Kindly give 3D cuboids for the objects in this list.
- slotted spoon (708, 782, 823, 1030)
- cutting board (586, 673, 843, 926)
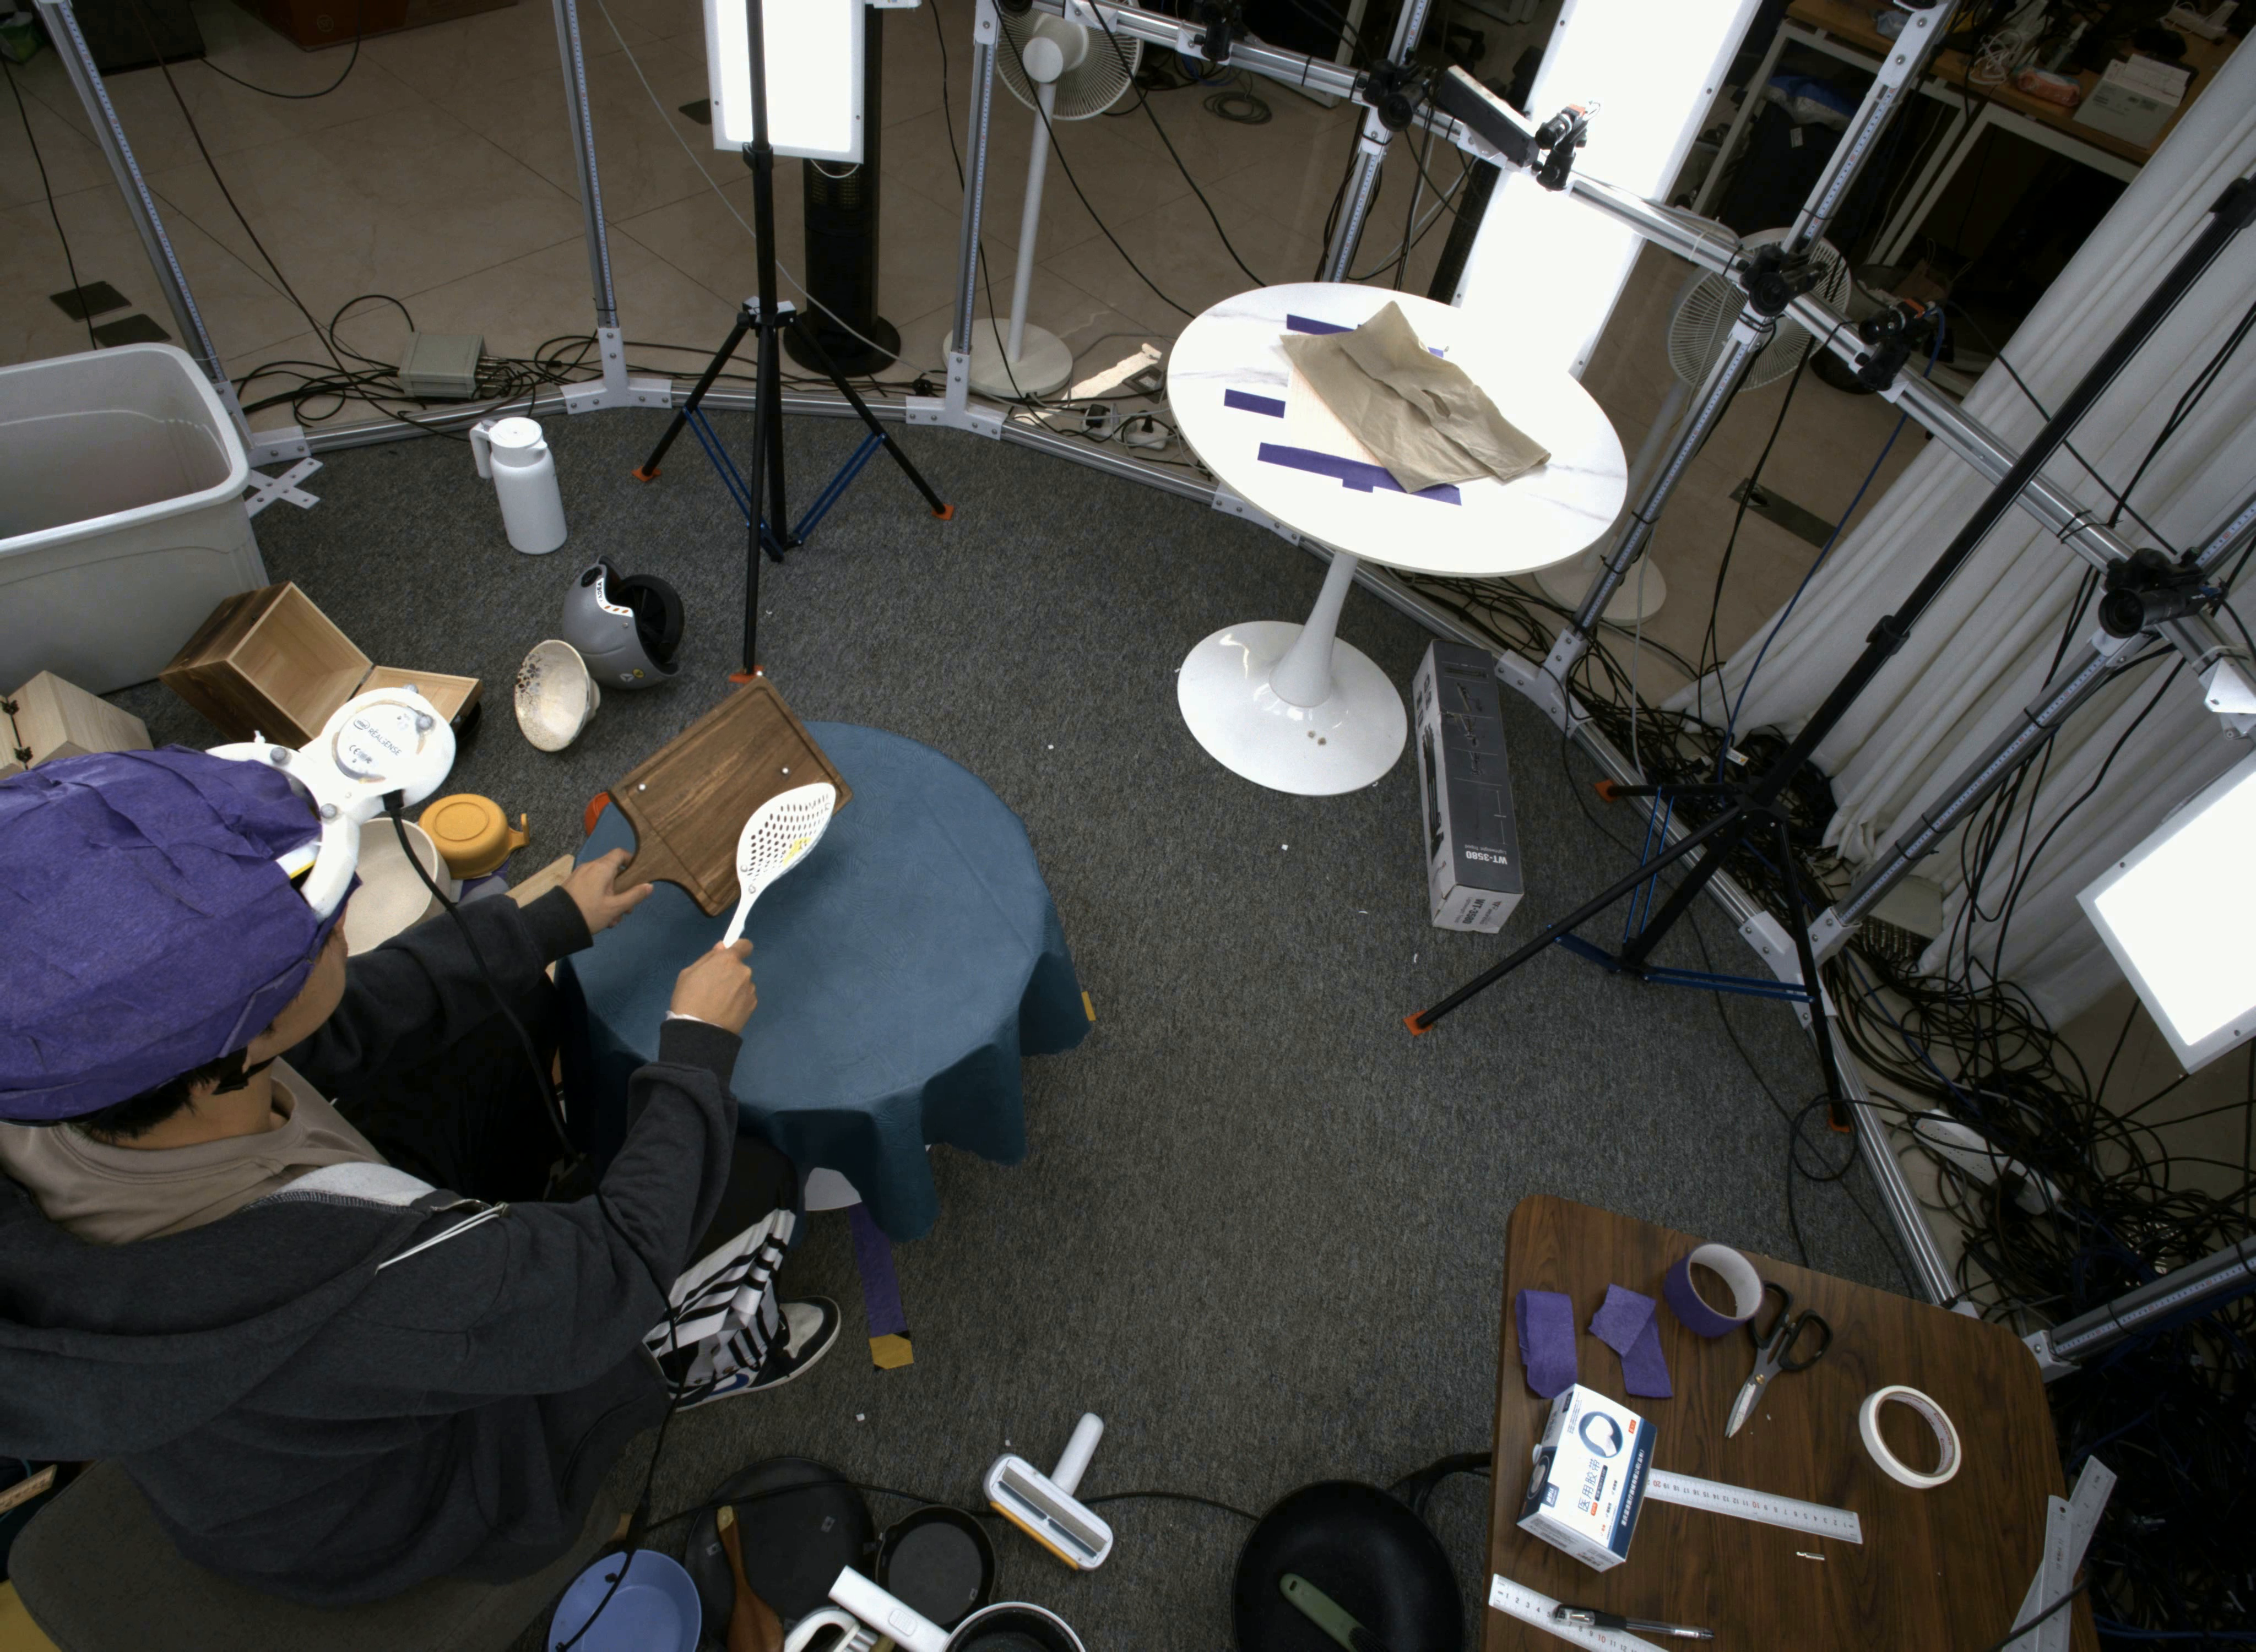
[{"bbox_3d":[-0.427,0.081,1.465,0.134,0.052,0.342,-14,38,22],"label":"slotted spoon"},{"bbox_3d":[-0.516,-0.008,1.541,0.351,0.022,0.206,-49,114,-34],"label":"cutting board"}]
